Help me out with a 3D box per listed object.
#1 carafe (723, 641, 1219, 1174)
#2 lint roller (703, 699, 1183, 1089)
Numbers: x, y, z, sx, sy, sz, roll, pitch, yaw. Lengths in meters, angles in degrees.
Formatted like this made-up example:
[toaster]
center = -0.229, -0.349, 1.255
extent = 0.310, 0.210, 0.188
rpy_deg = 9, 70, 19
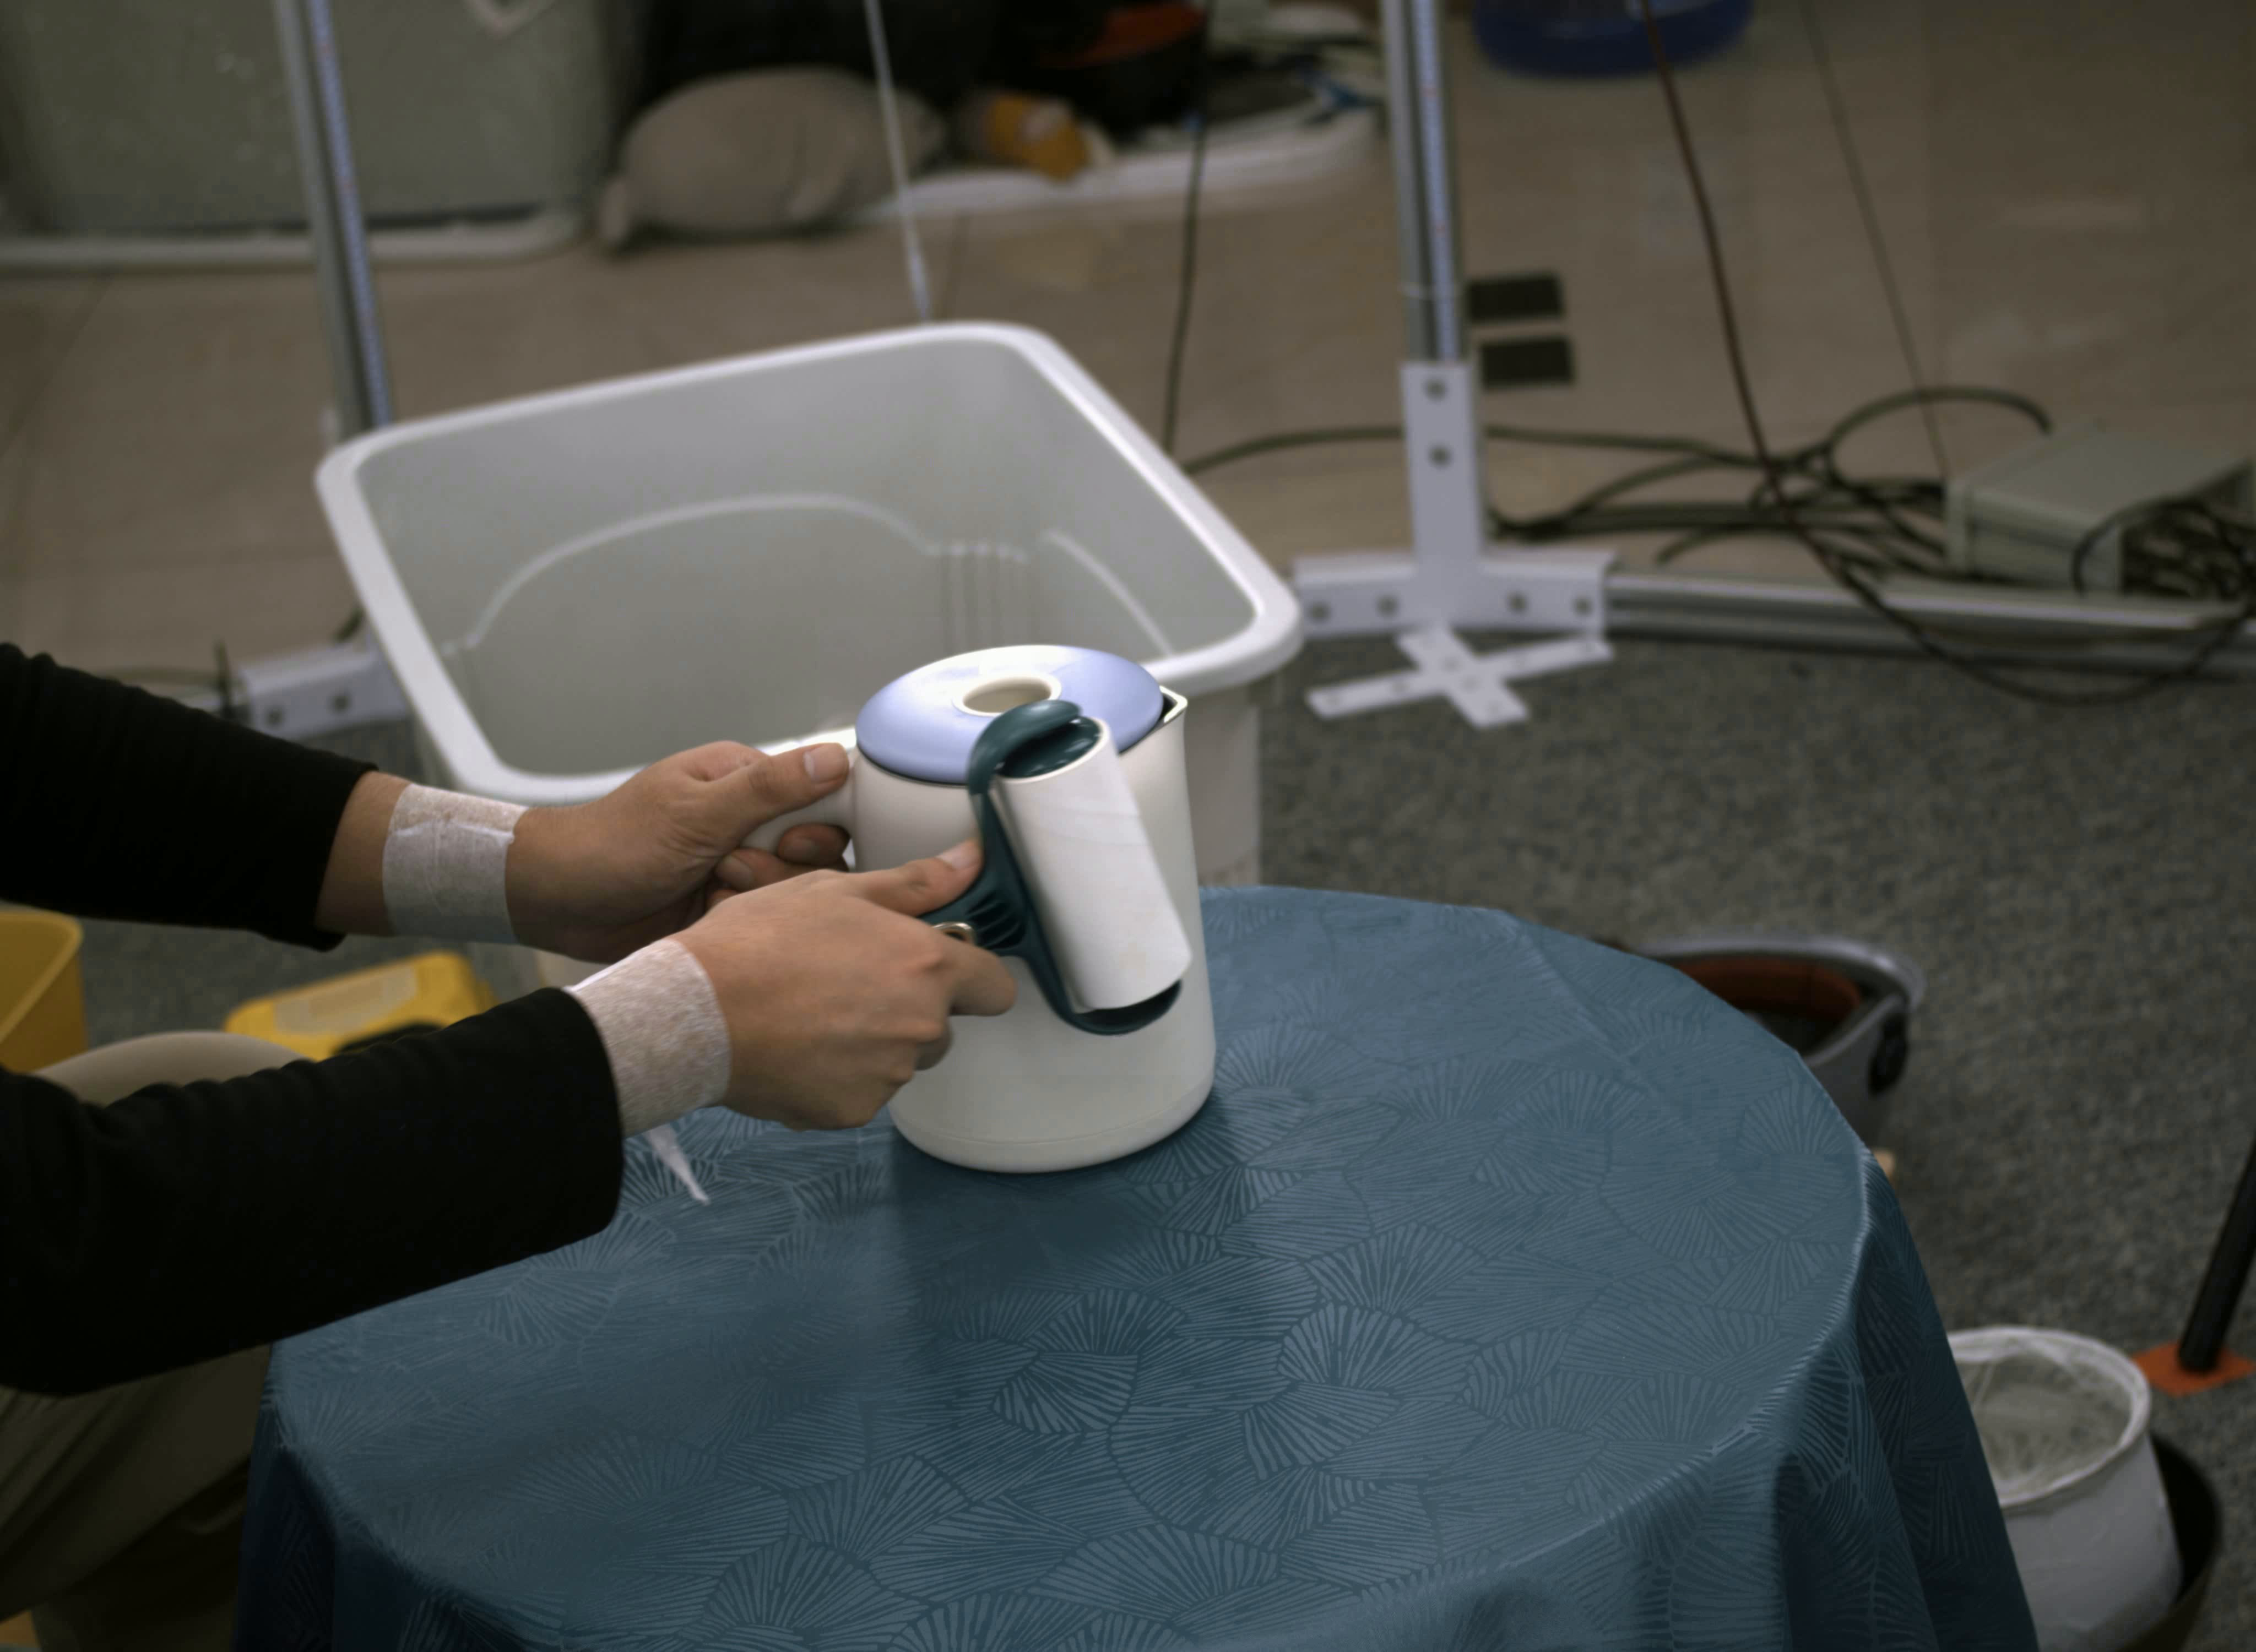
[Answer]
[carafe]
center = -0.061, 0.034, 2.182
extent = 0.191, 0.185, 0.130
rpy_deg = -8, 25, 0
[lint roller]
center = -0.071, 0.048, 2.059
extent = 0.179, 0.136, 0.048
rpy_deg = -31, 28, -20
